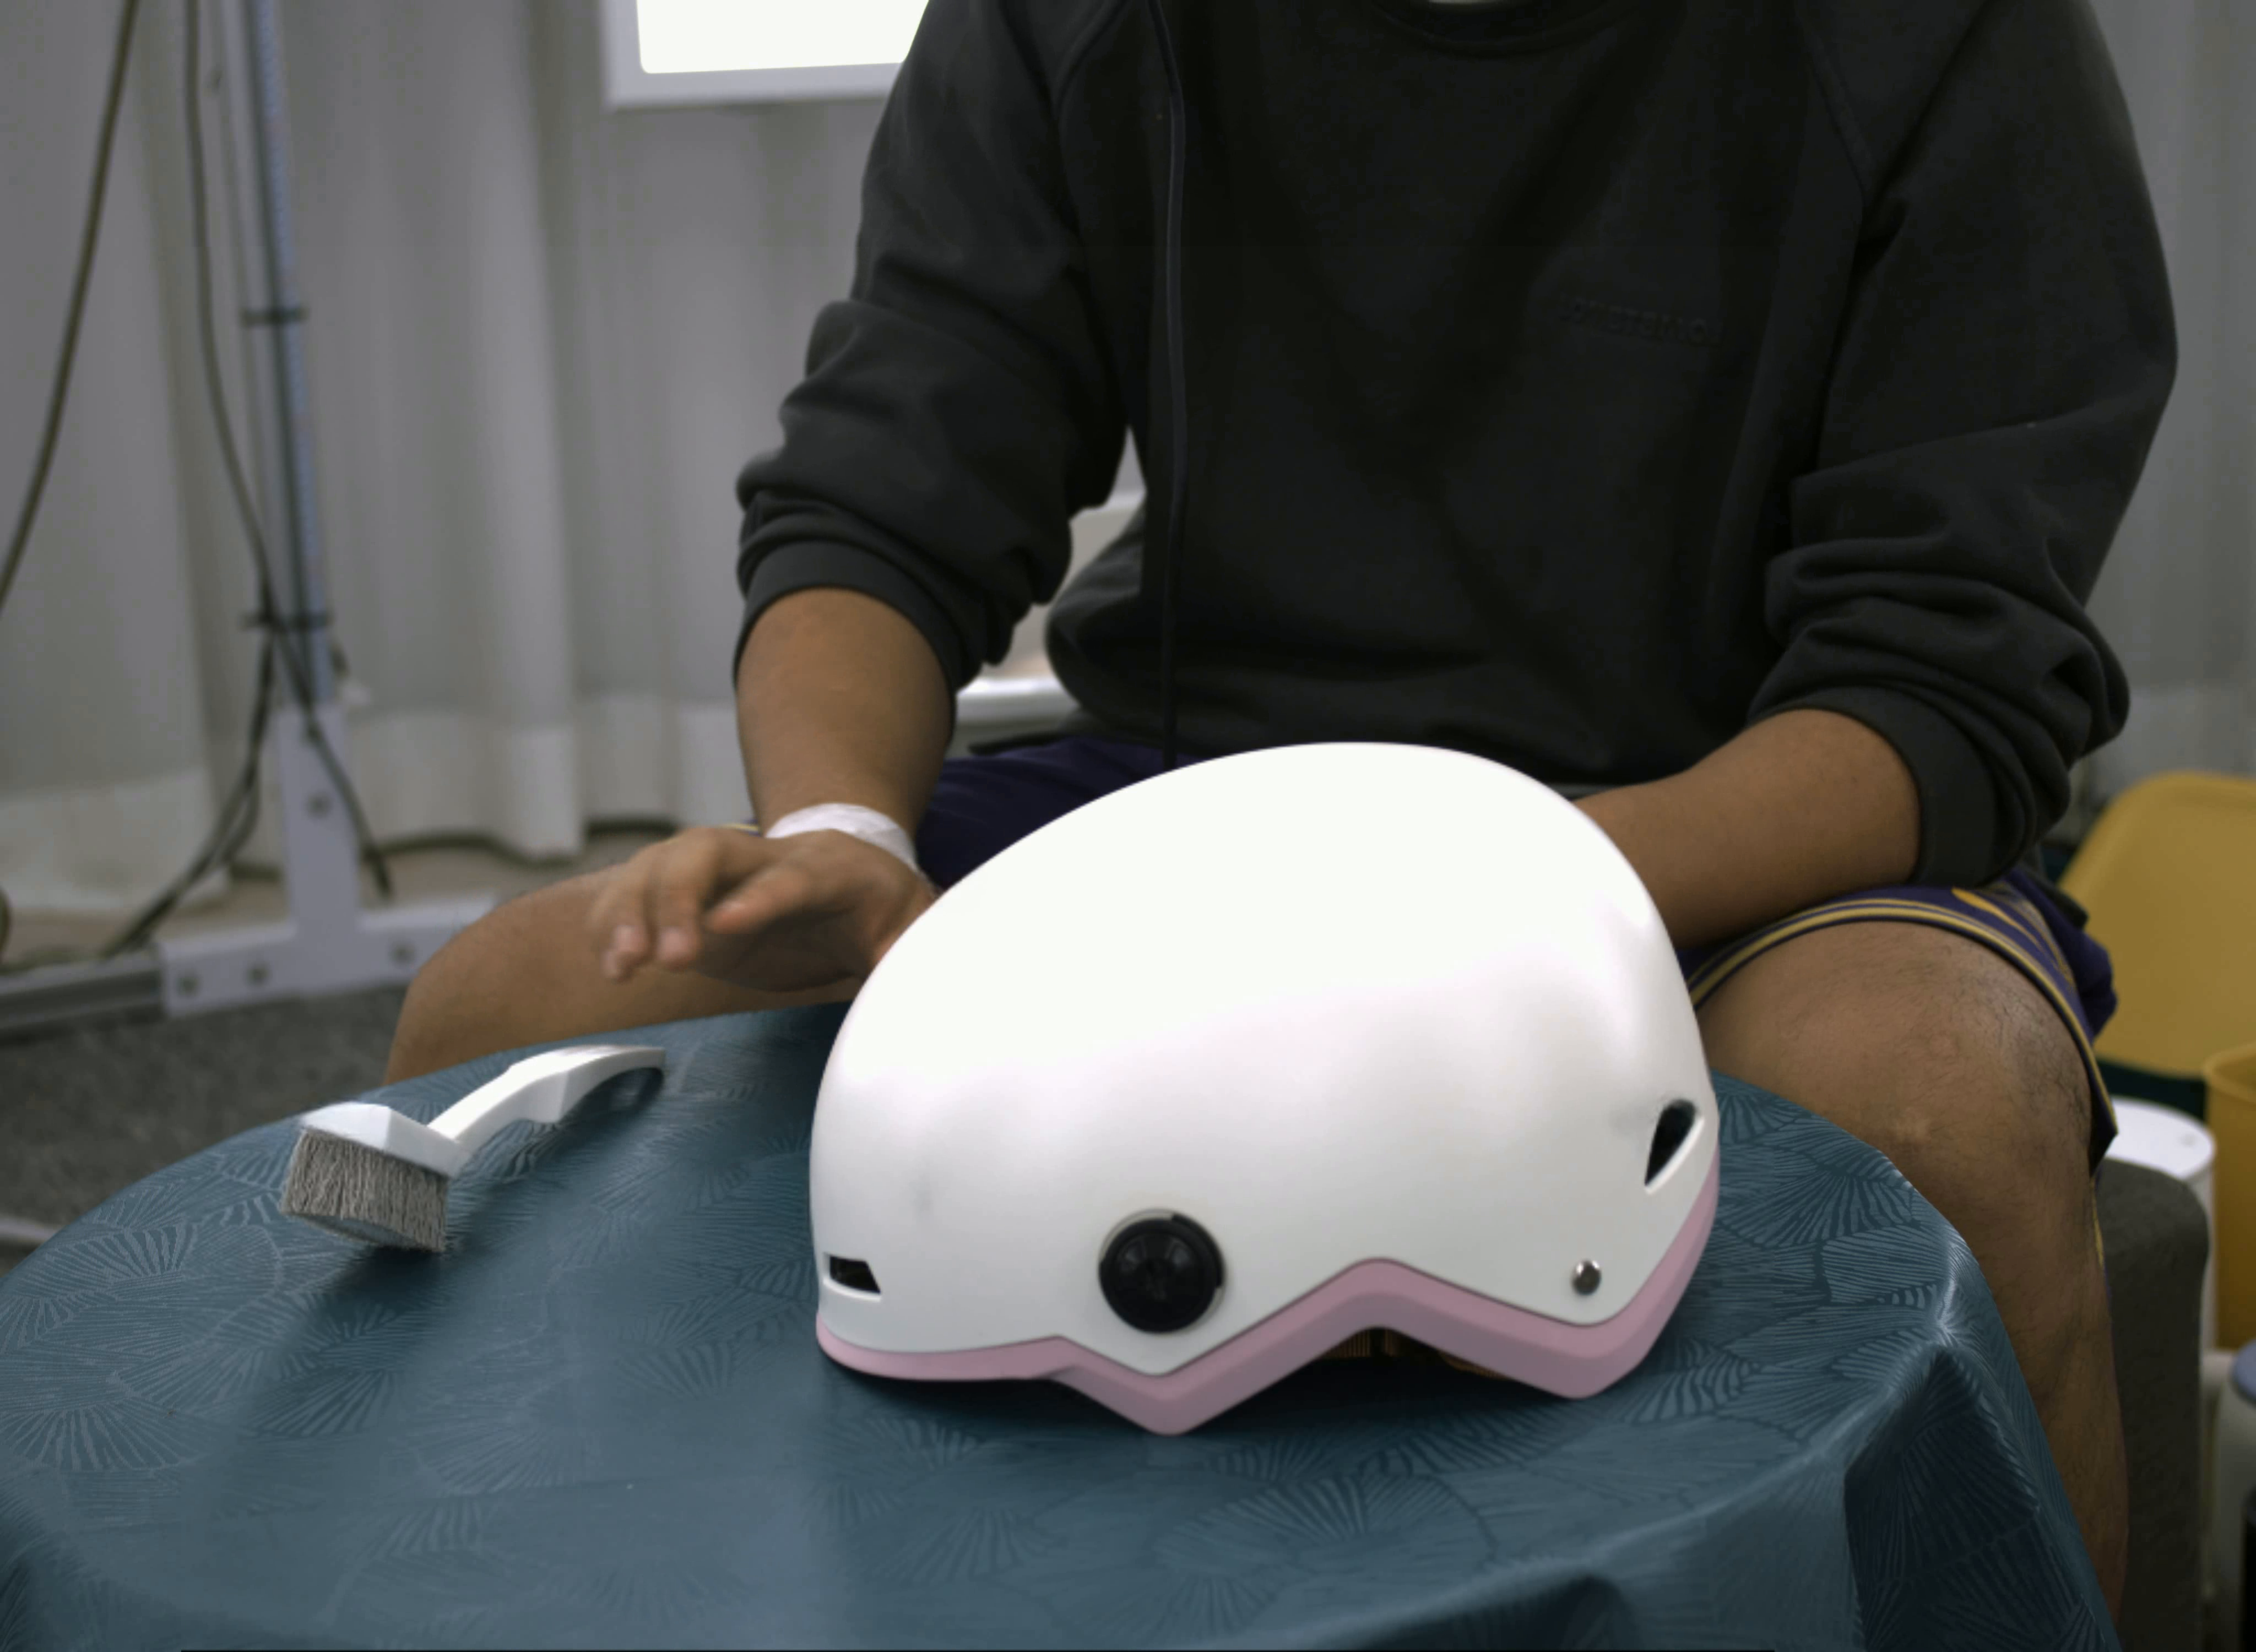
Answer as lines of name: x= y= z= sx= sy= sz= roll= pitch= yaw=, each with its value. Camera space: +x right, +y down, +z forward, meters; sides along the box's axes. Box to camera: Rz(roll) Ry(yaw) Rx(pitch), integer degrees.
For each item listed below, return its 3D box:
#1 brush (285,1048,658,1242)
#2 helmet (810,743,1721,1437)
brush: x=-0.205 y=0.102 z=1.759 sx=0.034 sy=0.050 sz=0.243 roll=1 pitch=2 yaw=17
helmet: x=0.037 y=0.063 z=1.589 sx=0.268 sy=0.166 sz=0.238 roll=-2 pitch=15 yaw=5
